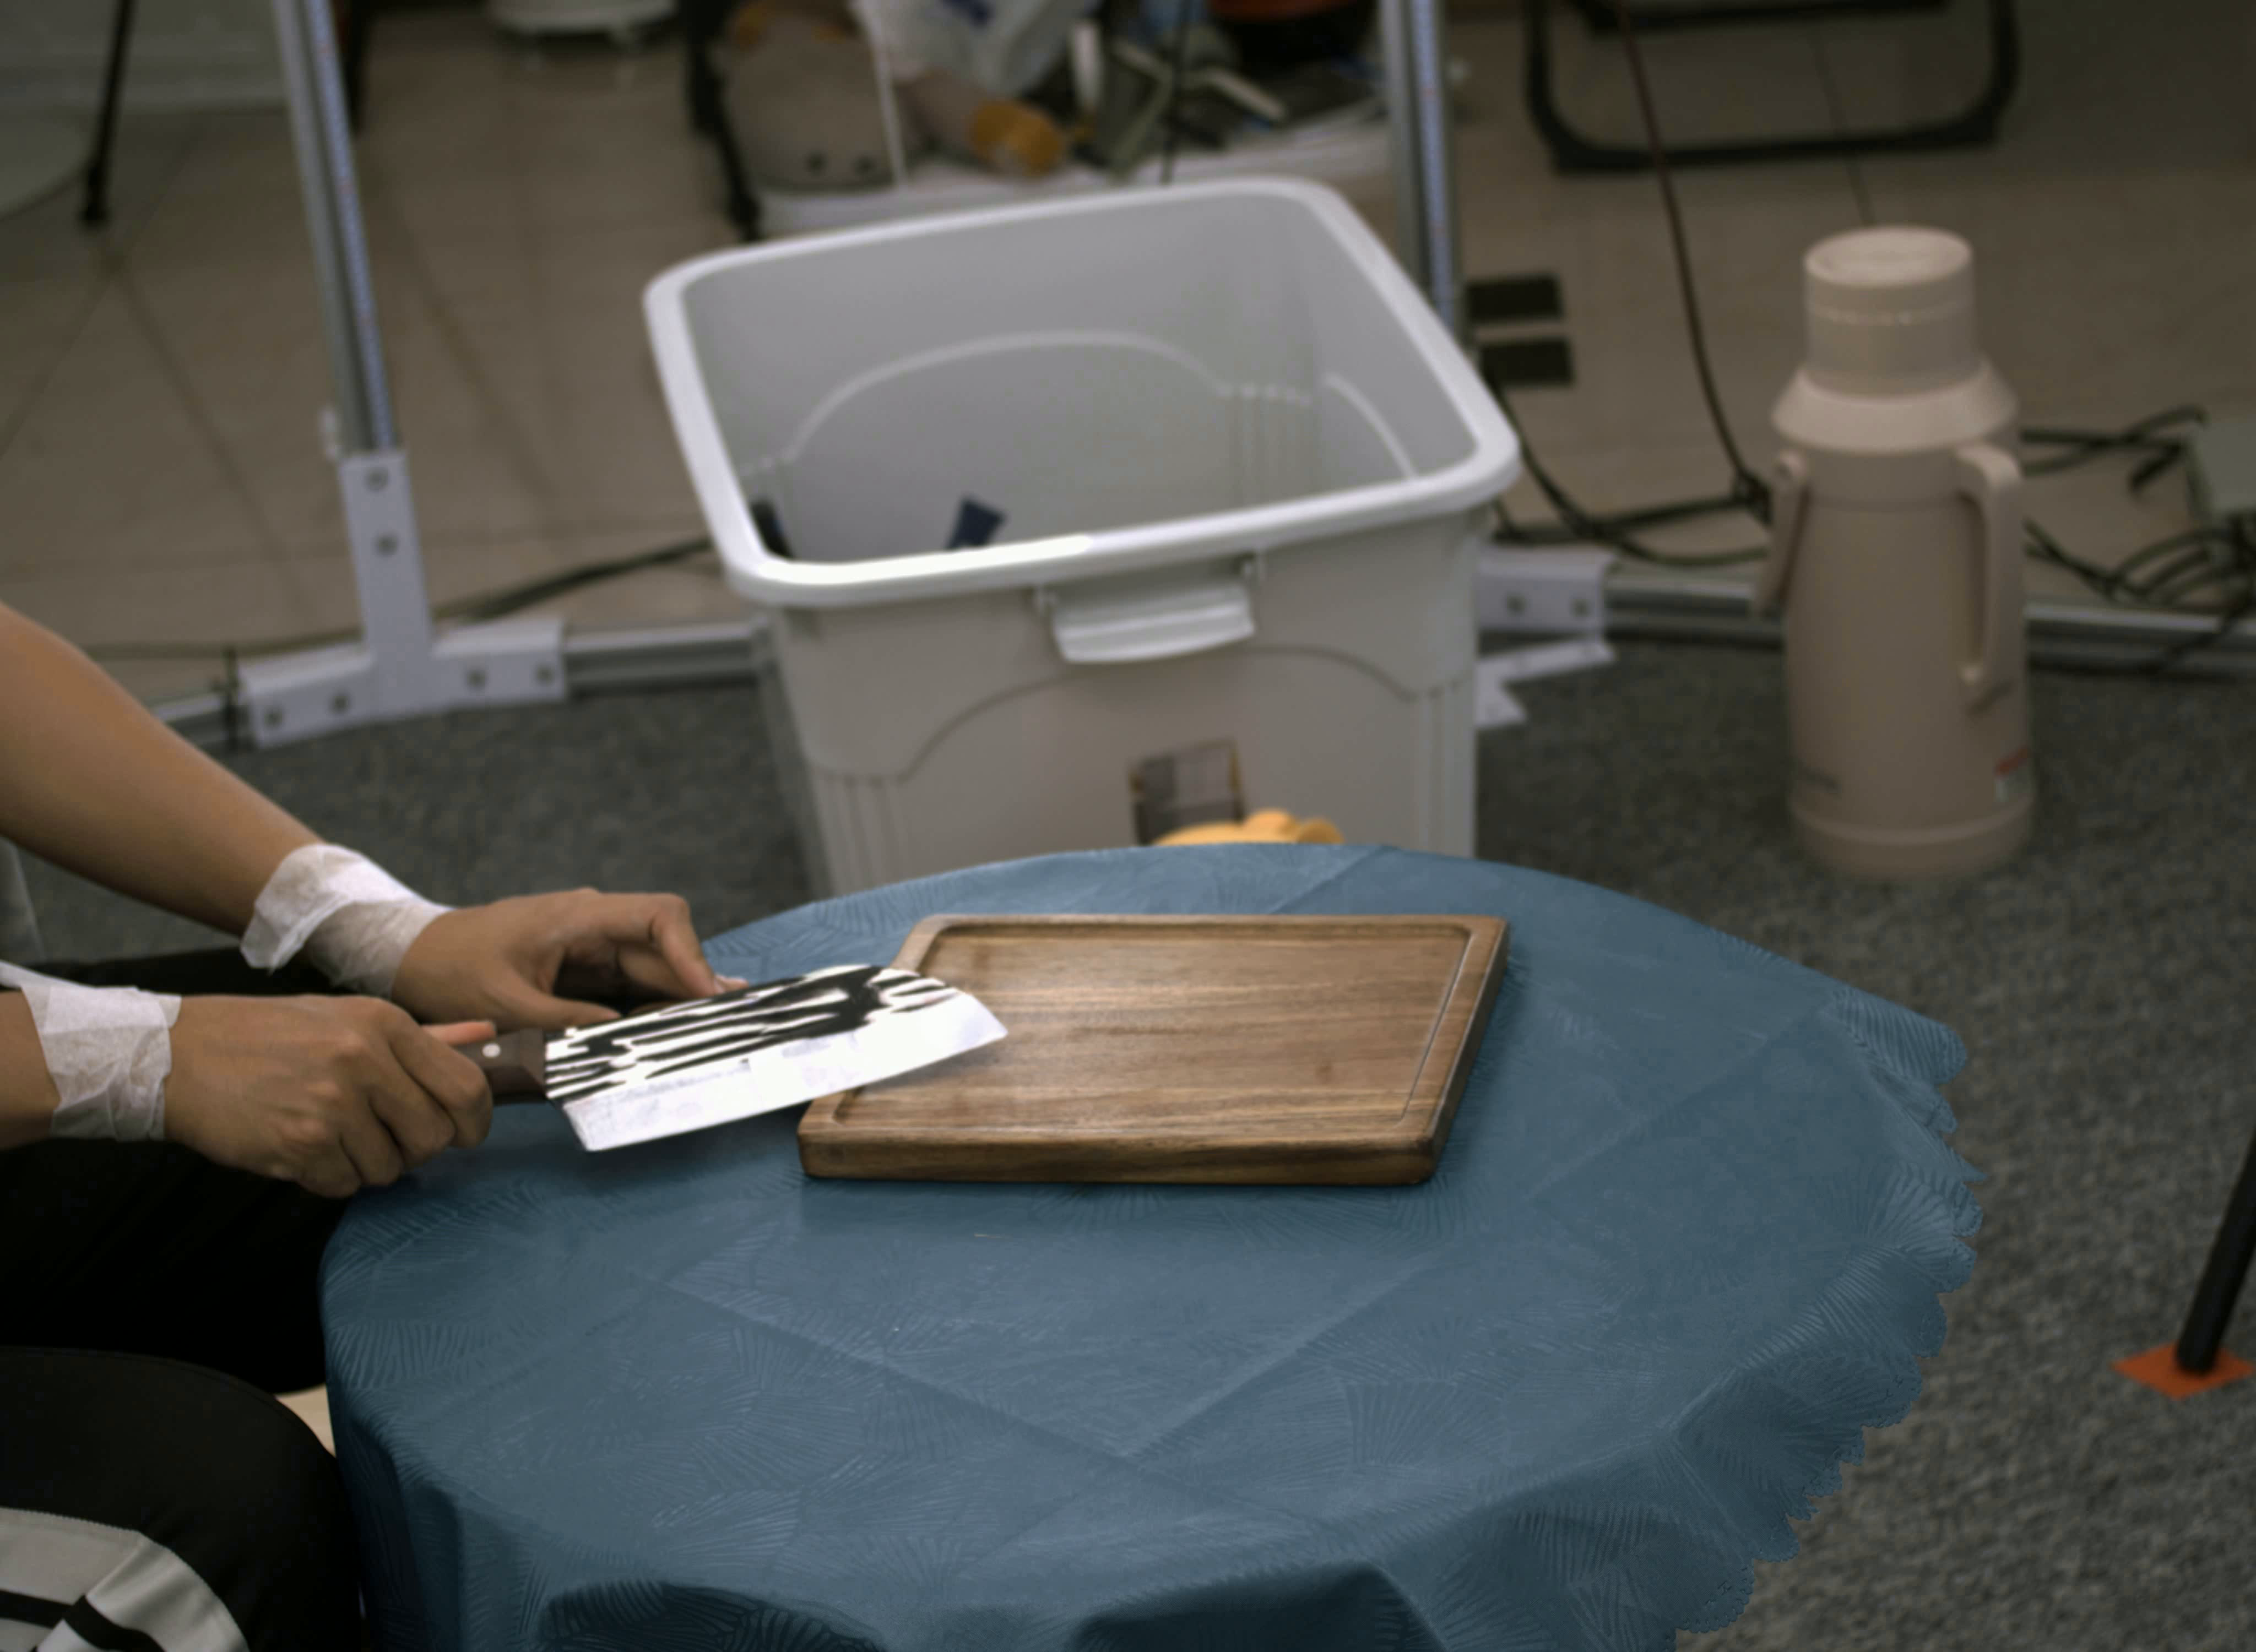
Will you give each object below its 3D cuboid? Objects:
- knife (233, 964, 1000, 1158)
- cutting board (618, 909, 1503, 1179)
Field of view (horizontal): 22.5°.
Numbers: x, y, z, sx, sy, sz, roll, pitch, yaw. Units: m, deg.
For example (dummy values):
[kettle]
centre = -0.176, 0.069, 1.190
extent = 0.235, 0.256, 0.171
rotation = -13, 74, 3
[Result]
[knife]
centre = -0.200, 0.097, 2.220
extent = 0.299, 0.024, 0.067
rotation = -12, 46, -8
[cutting board]
centre = -0.036, 0.085, 2.251
extent = 0.351, 0.023, 0.198
rotation = -1, 26, 14
